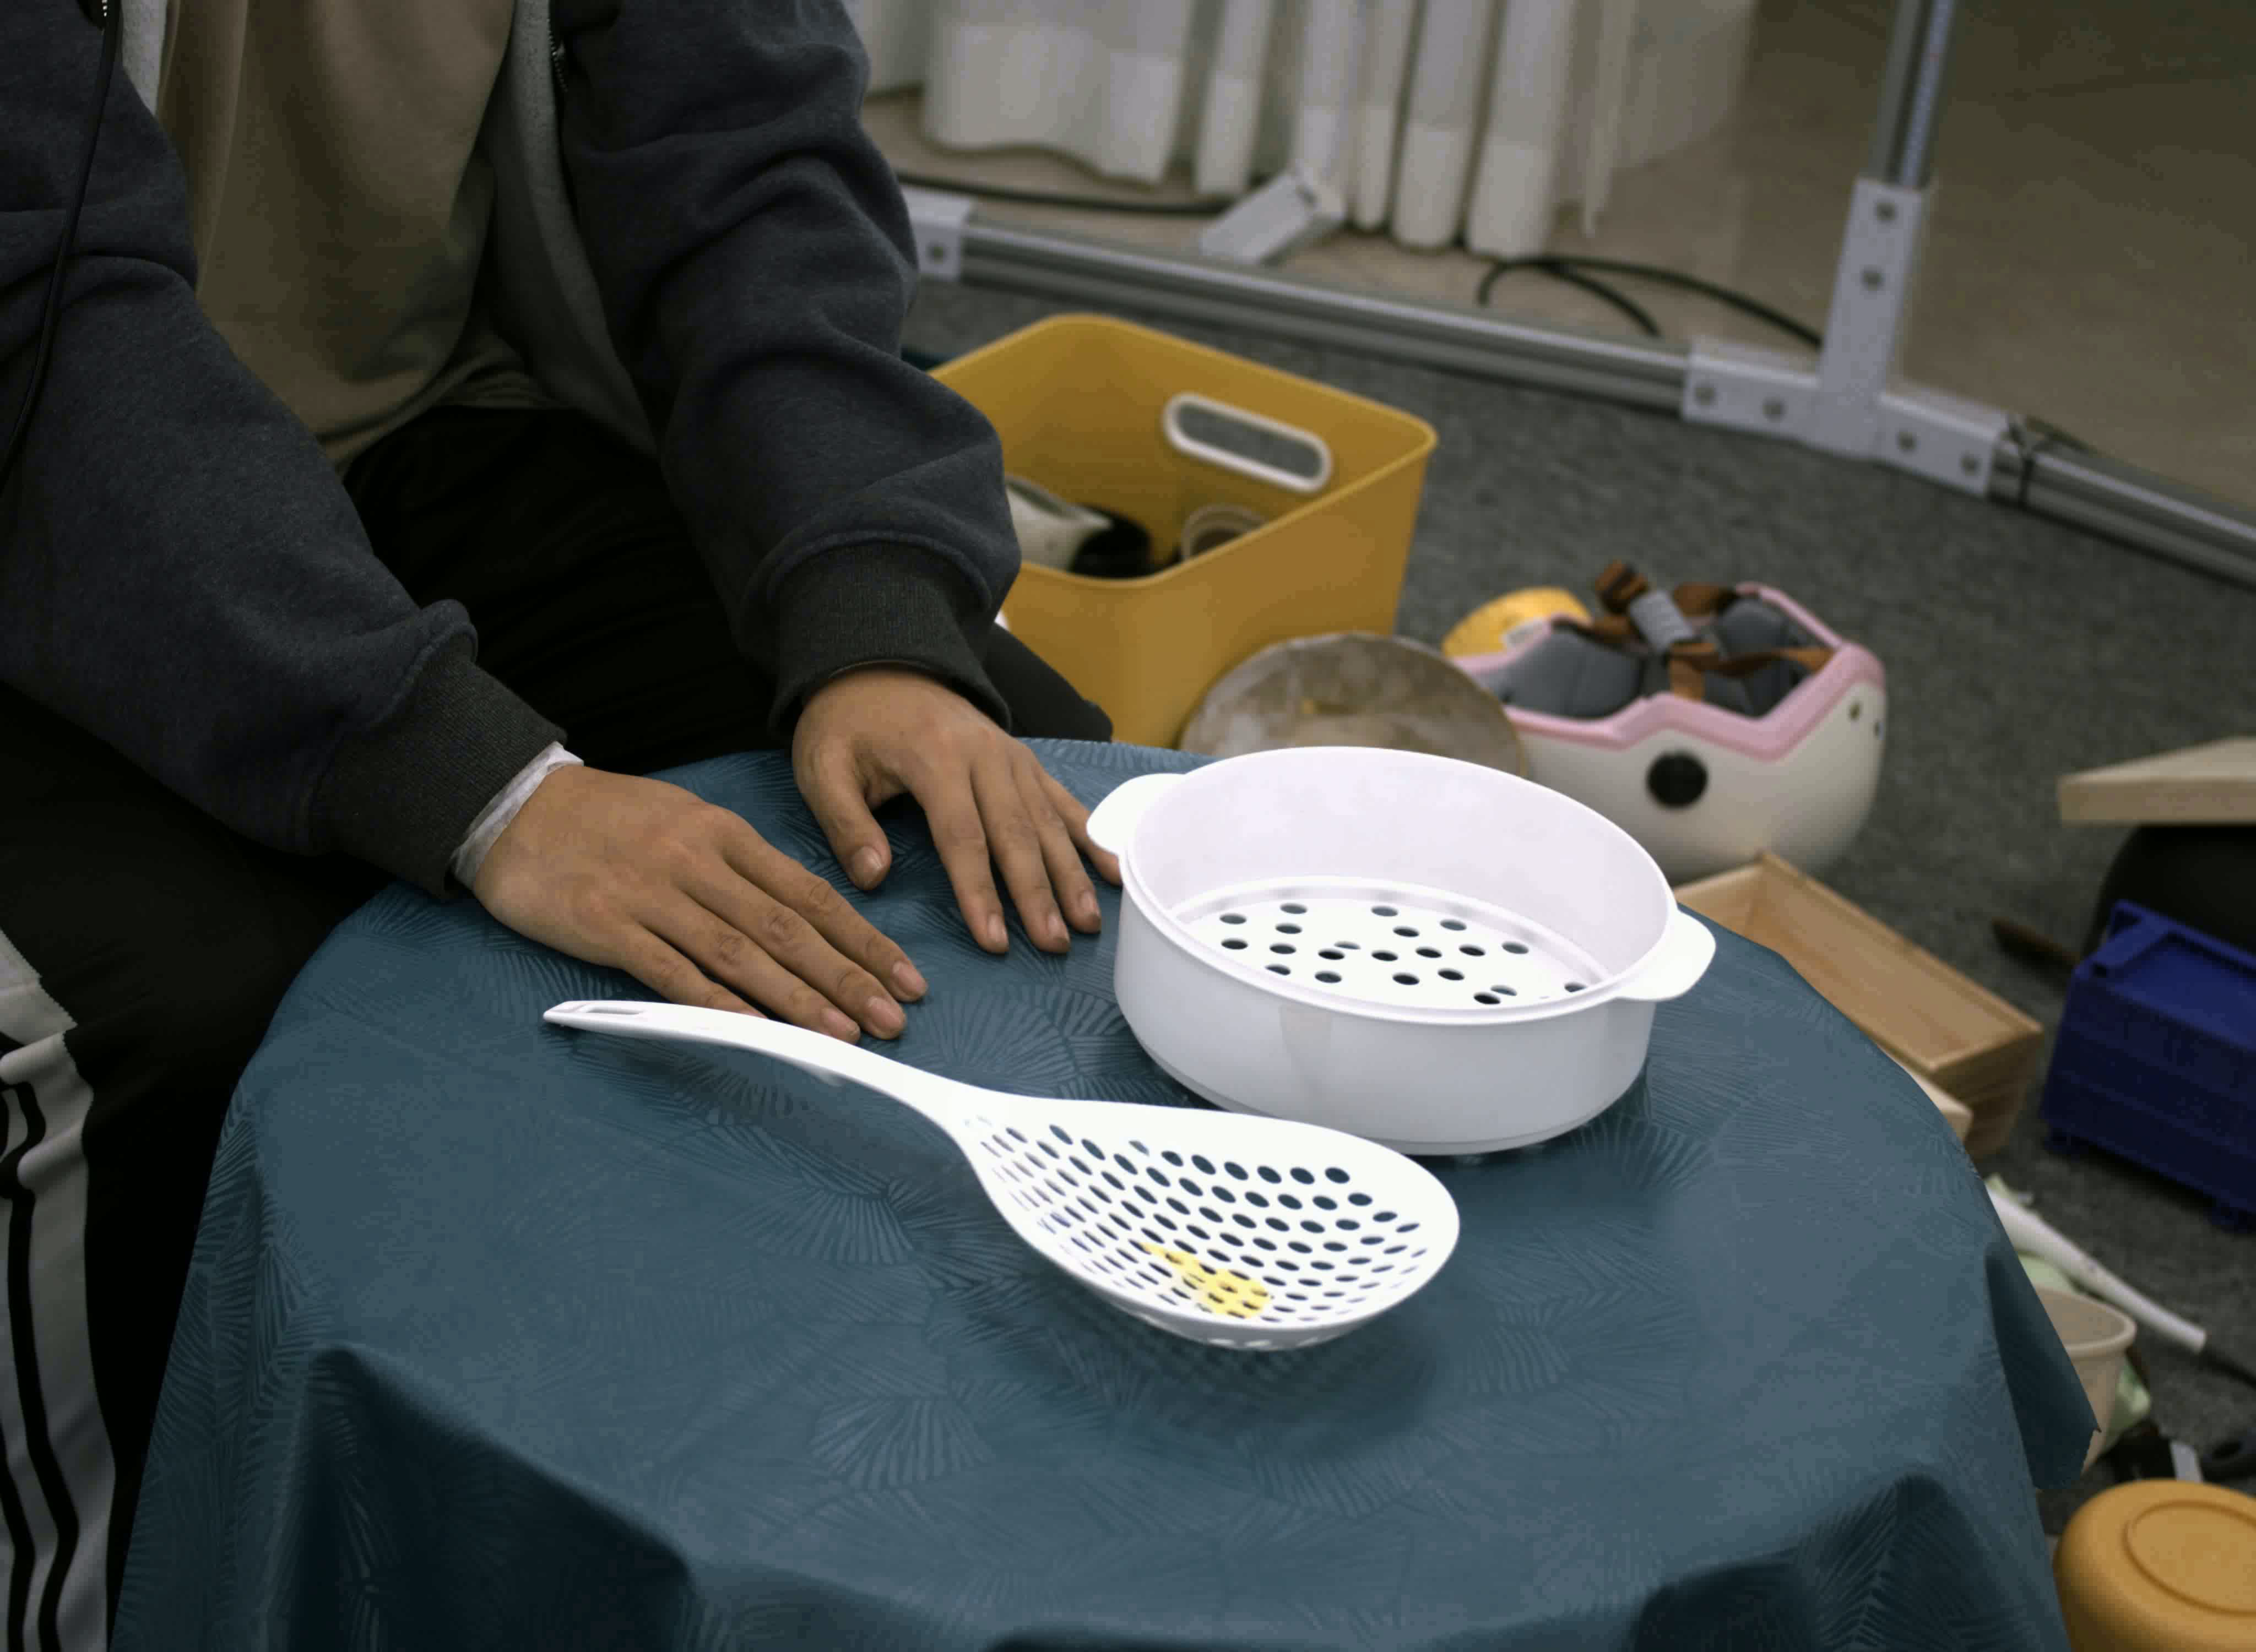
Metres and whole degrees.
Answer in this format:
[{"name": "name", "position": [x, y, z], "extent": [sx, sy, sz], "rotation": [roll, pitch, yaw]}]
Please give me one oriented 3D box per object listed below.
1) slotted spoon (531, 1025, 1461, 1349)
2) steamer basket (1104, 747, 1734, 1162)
[{"name": "slotted spoon", "position": [-0.054, 0.106, 1.780], "extent": [0.349, 0.050, 0.136], "rotation": [21, 33, 26]}, {"name": "steamer basket", "position": [0.098, 0.046, 1.900], "extent": [0.231, 0.069, 0.202], "rotation": [17, 29, 16]}]
